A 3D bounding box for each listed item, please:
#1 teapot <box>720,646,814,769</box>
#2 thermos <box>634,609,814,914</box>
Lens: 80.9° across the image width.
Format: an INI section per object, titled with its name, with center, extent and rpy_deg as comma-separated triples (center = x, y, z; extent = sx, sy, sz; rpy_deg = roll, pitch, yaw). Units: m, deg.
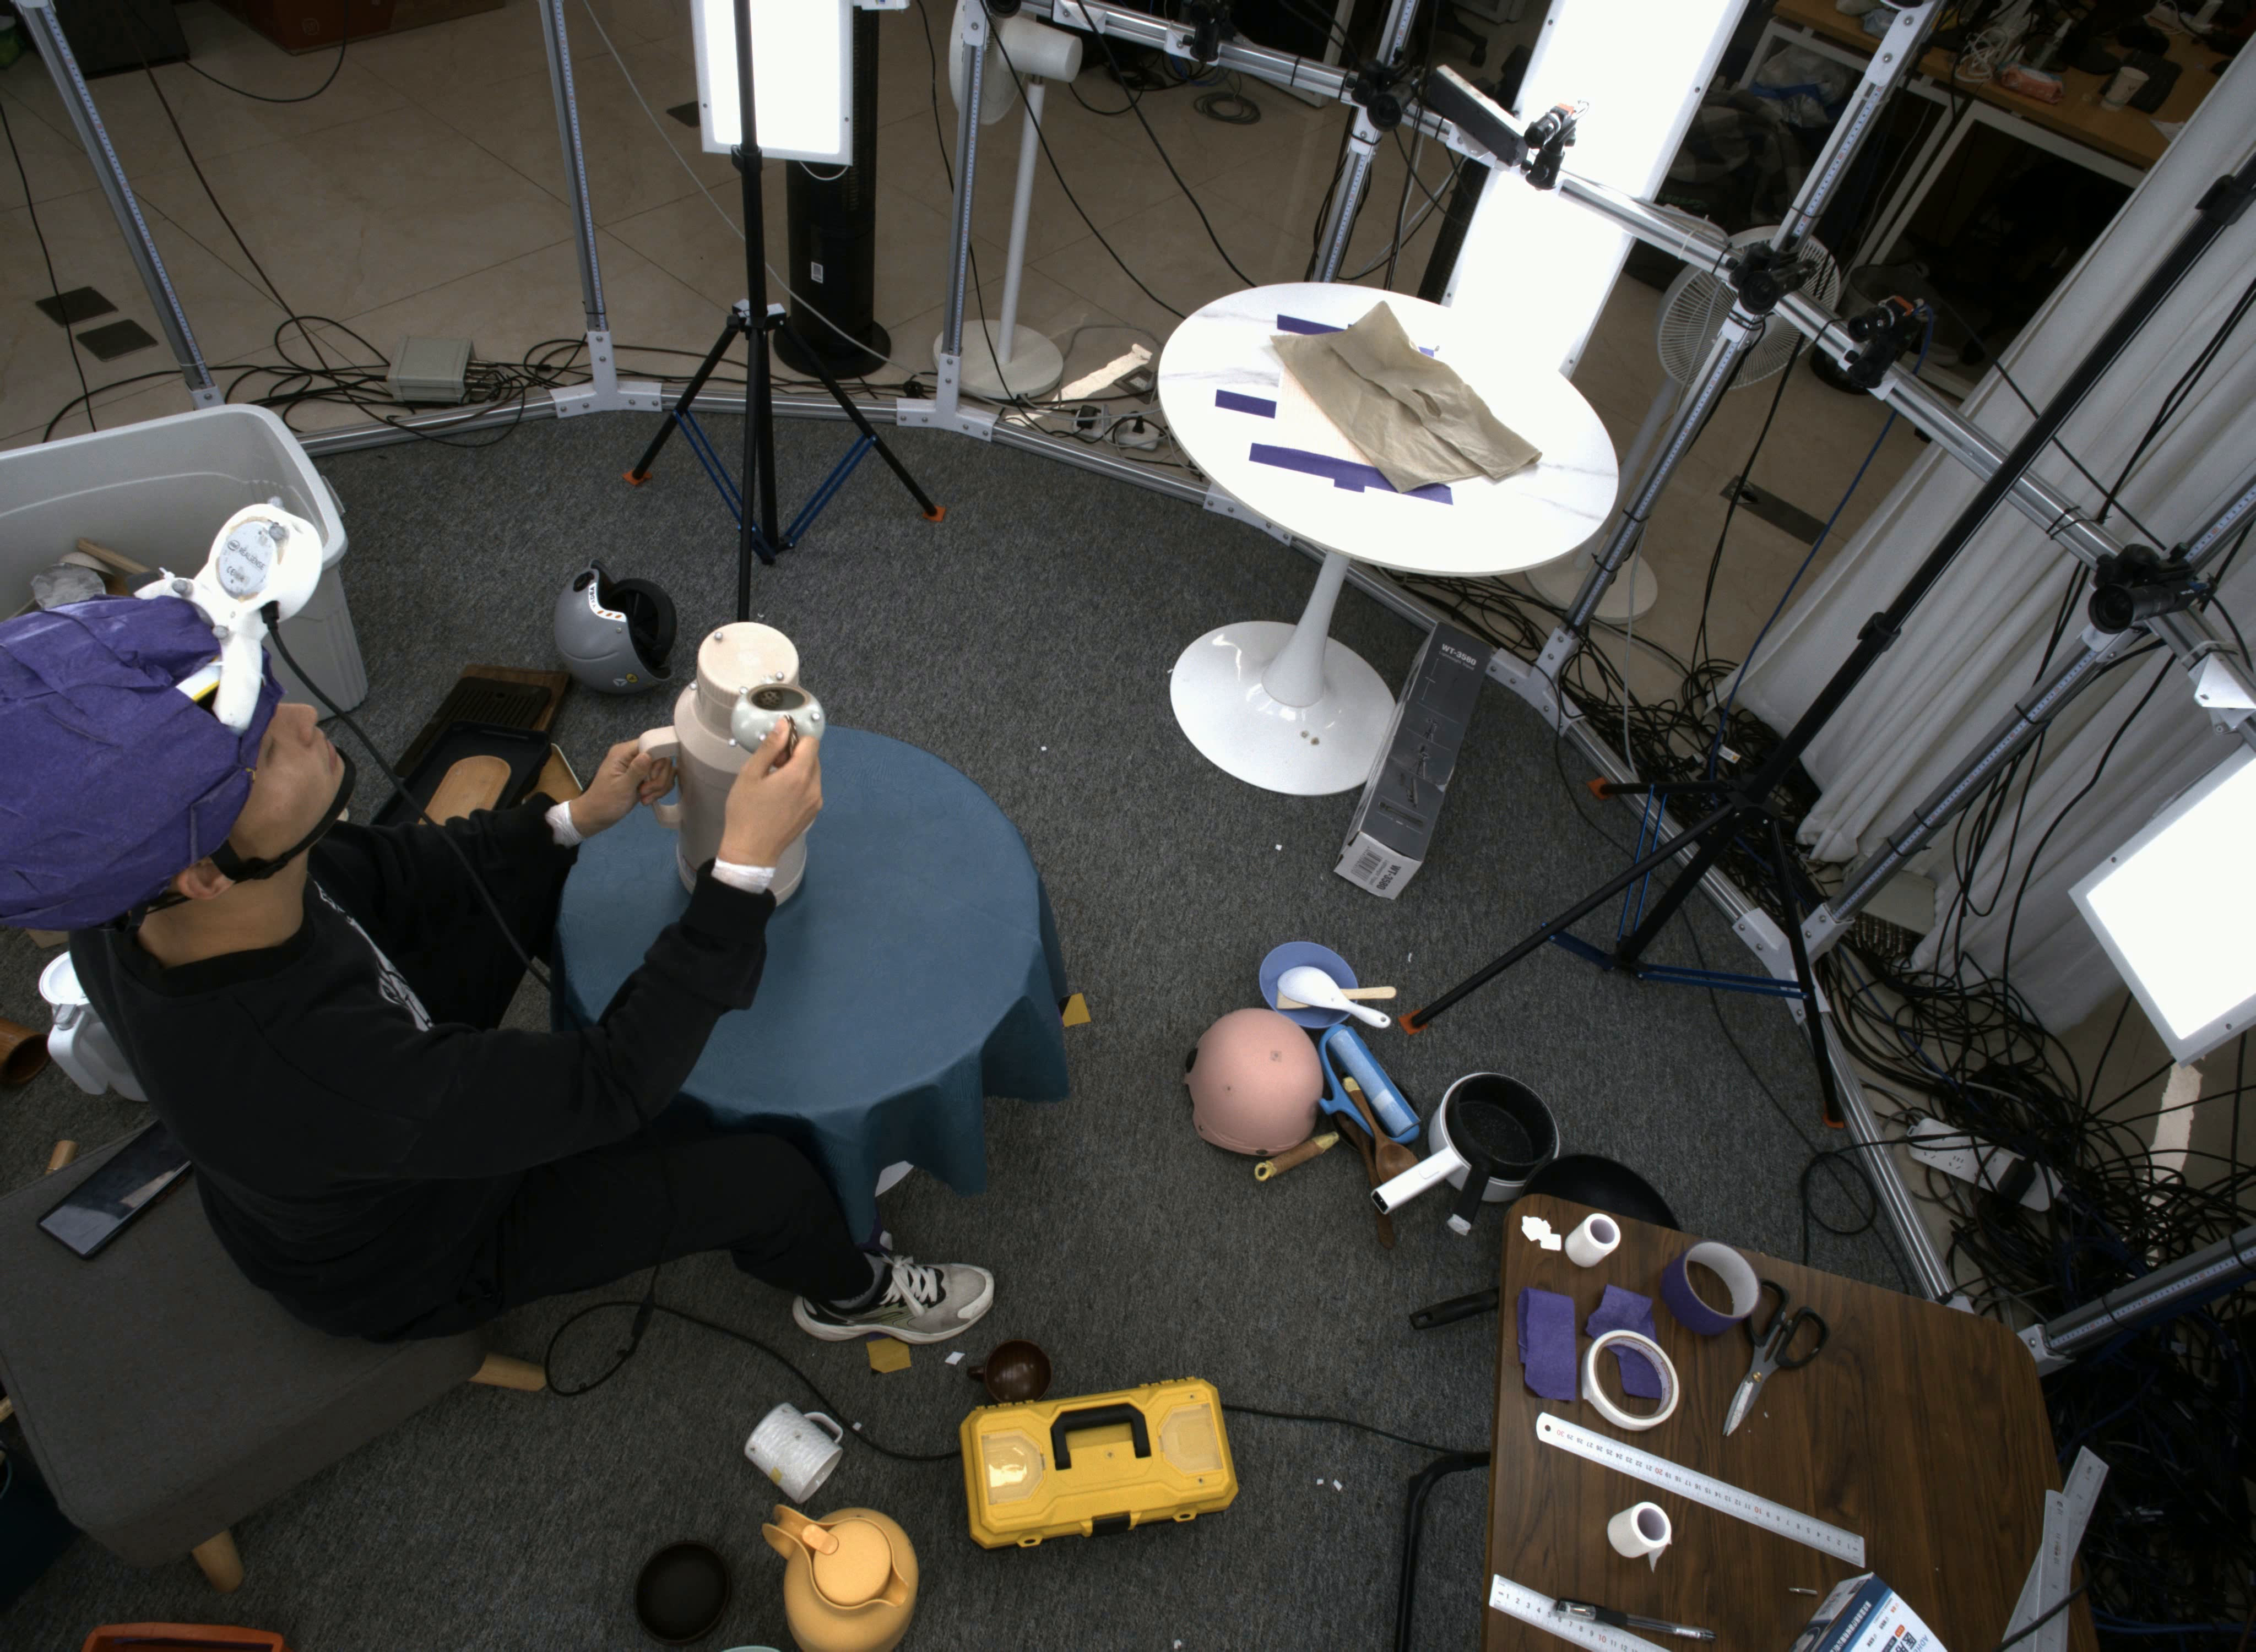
[teapot]
center = -0.354, -0.113, 1.268
extent = 0.091, 0.061, 0.125
rpy_deg = -10, 58, -9
[thermos]
center = -0.465, -0.069, 1.497
extent = 0.208, 0.412, 0.171
rpy_deg = -14, 61, -26
